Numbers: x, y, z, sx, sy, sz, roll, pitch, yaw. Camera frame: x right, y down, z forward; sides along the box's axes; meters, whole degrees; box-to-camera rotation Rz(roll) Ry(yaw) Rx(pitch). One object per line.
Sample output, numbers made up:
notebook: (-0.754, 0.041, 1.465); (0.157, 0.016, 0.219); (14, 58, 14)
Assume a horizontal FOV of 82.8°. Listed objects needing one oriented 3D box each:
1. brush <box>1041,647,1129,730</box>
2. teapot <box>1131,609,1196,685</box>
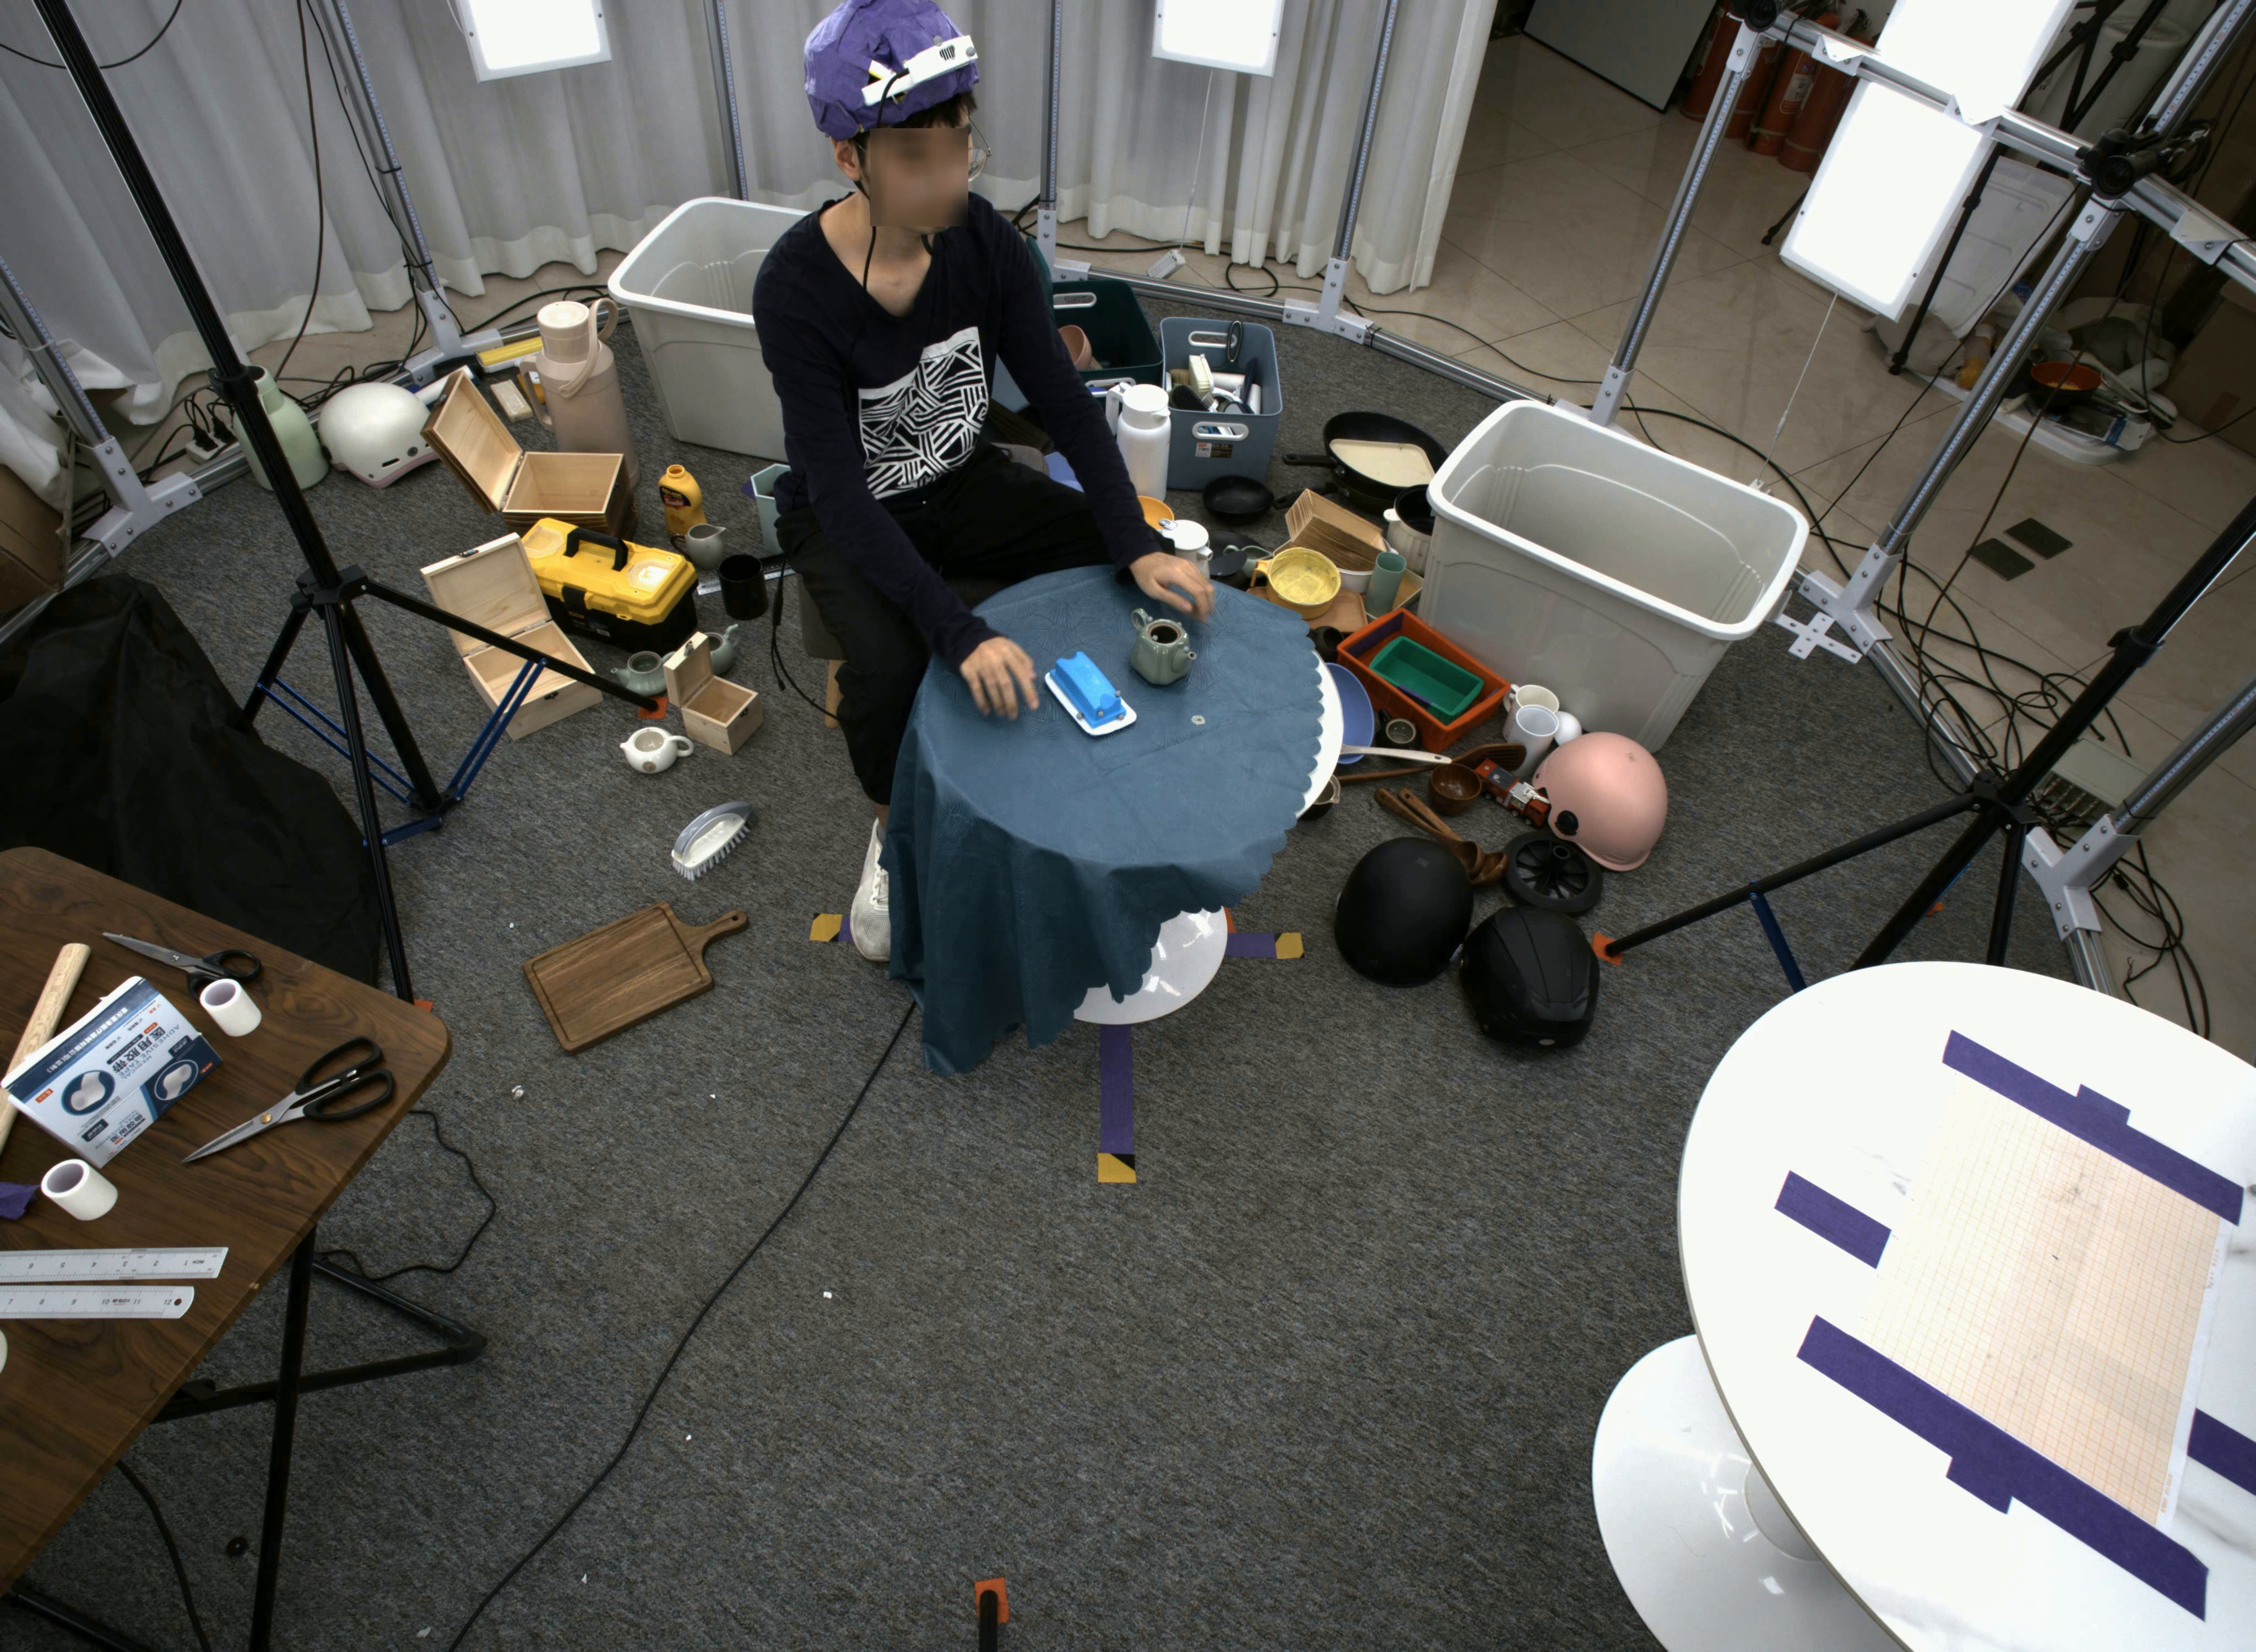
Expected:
brush: (-0.058, -0.200, 1.797); (0.084, 0.054, 0.147); (-19, 56, -24)
teapot: (0.050, -0.253, 1.844); (0.080, 0.073, 0.135); (-30, 55, -26)
